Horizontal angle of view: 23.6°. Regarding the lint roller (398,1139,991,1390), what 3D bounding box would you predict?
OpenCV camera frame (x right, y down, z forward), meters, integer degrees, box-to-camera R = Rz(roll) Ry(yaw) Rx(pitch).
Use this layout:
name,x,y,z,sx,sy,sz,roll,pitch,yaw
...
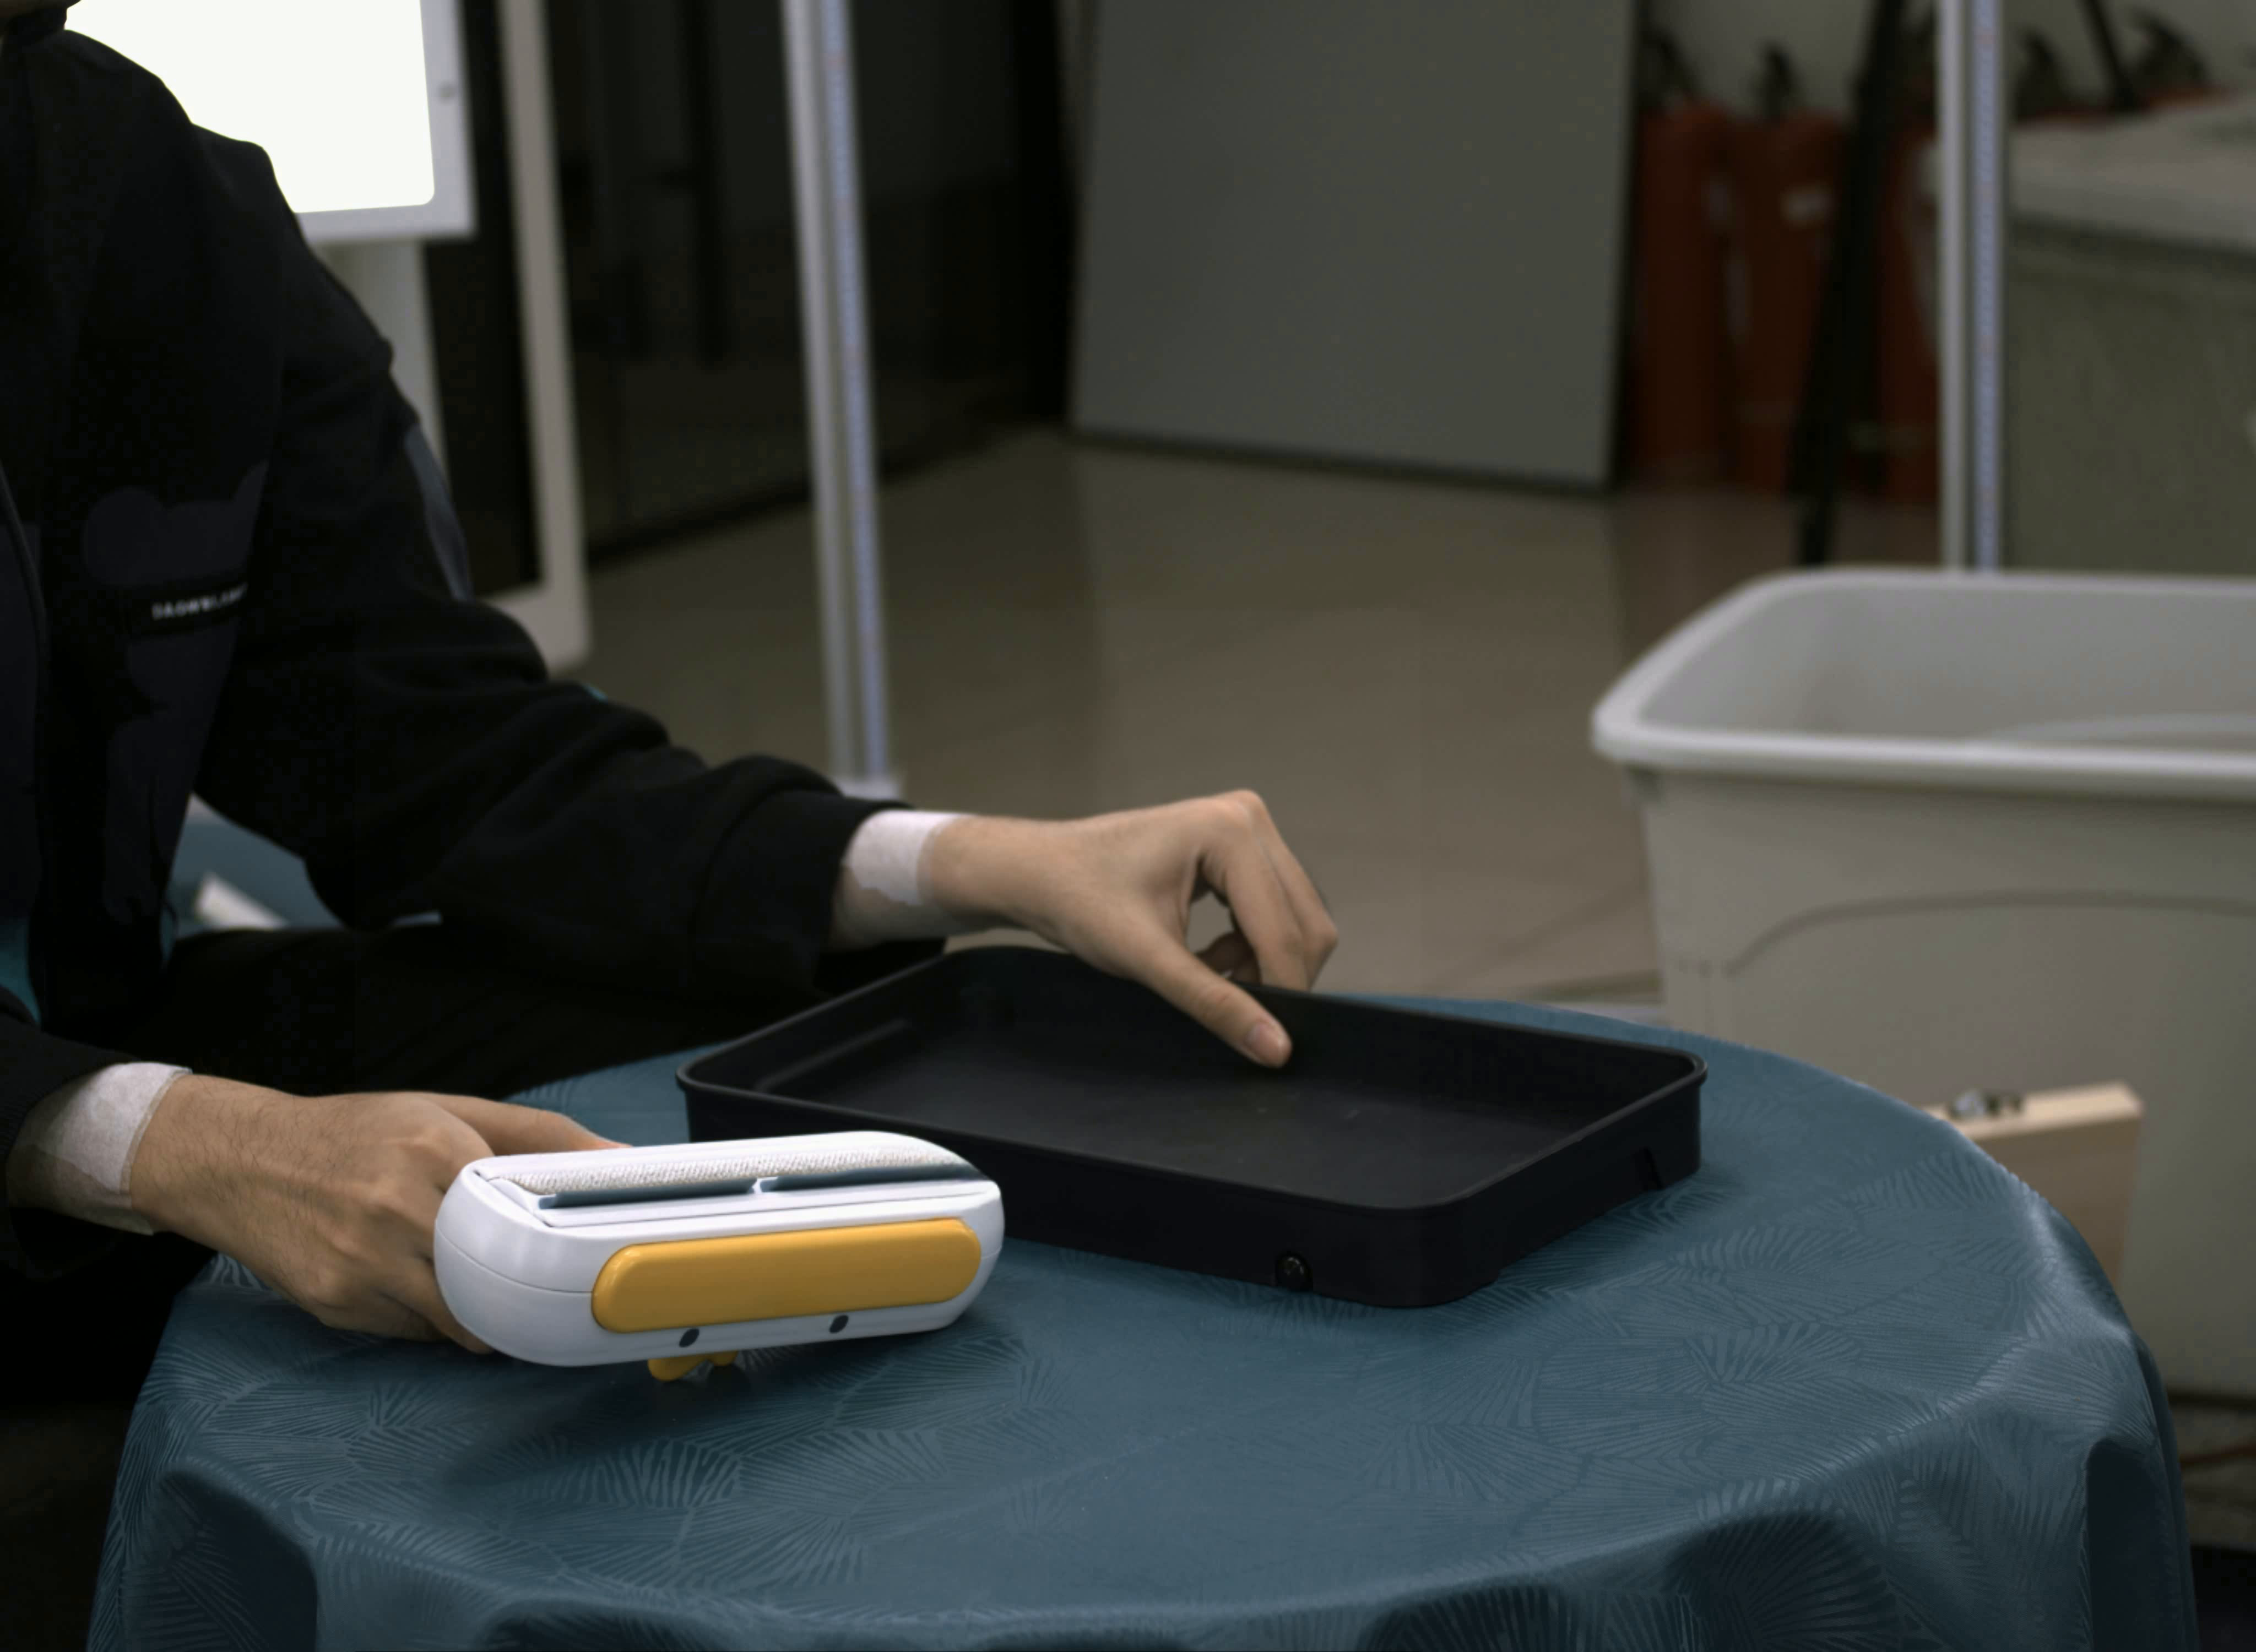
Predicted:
name,x,y,z,sx,sy,sz,roll,pitch,yaw
lint roller,-0.161,0.121,1.660,0.188,0.075,0.194,-5,15,-36

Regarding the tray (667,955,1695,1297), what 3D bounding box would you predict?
name,x,y,z,sx,sy,sz,roll,pitch,yaw
tray,0.016,0.096,1.794,0.320,0.037,0.181,6,17,36
